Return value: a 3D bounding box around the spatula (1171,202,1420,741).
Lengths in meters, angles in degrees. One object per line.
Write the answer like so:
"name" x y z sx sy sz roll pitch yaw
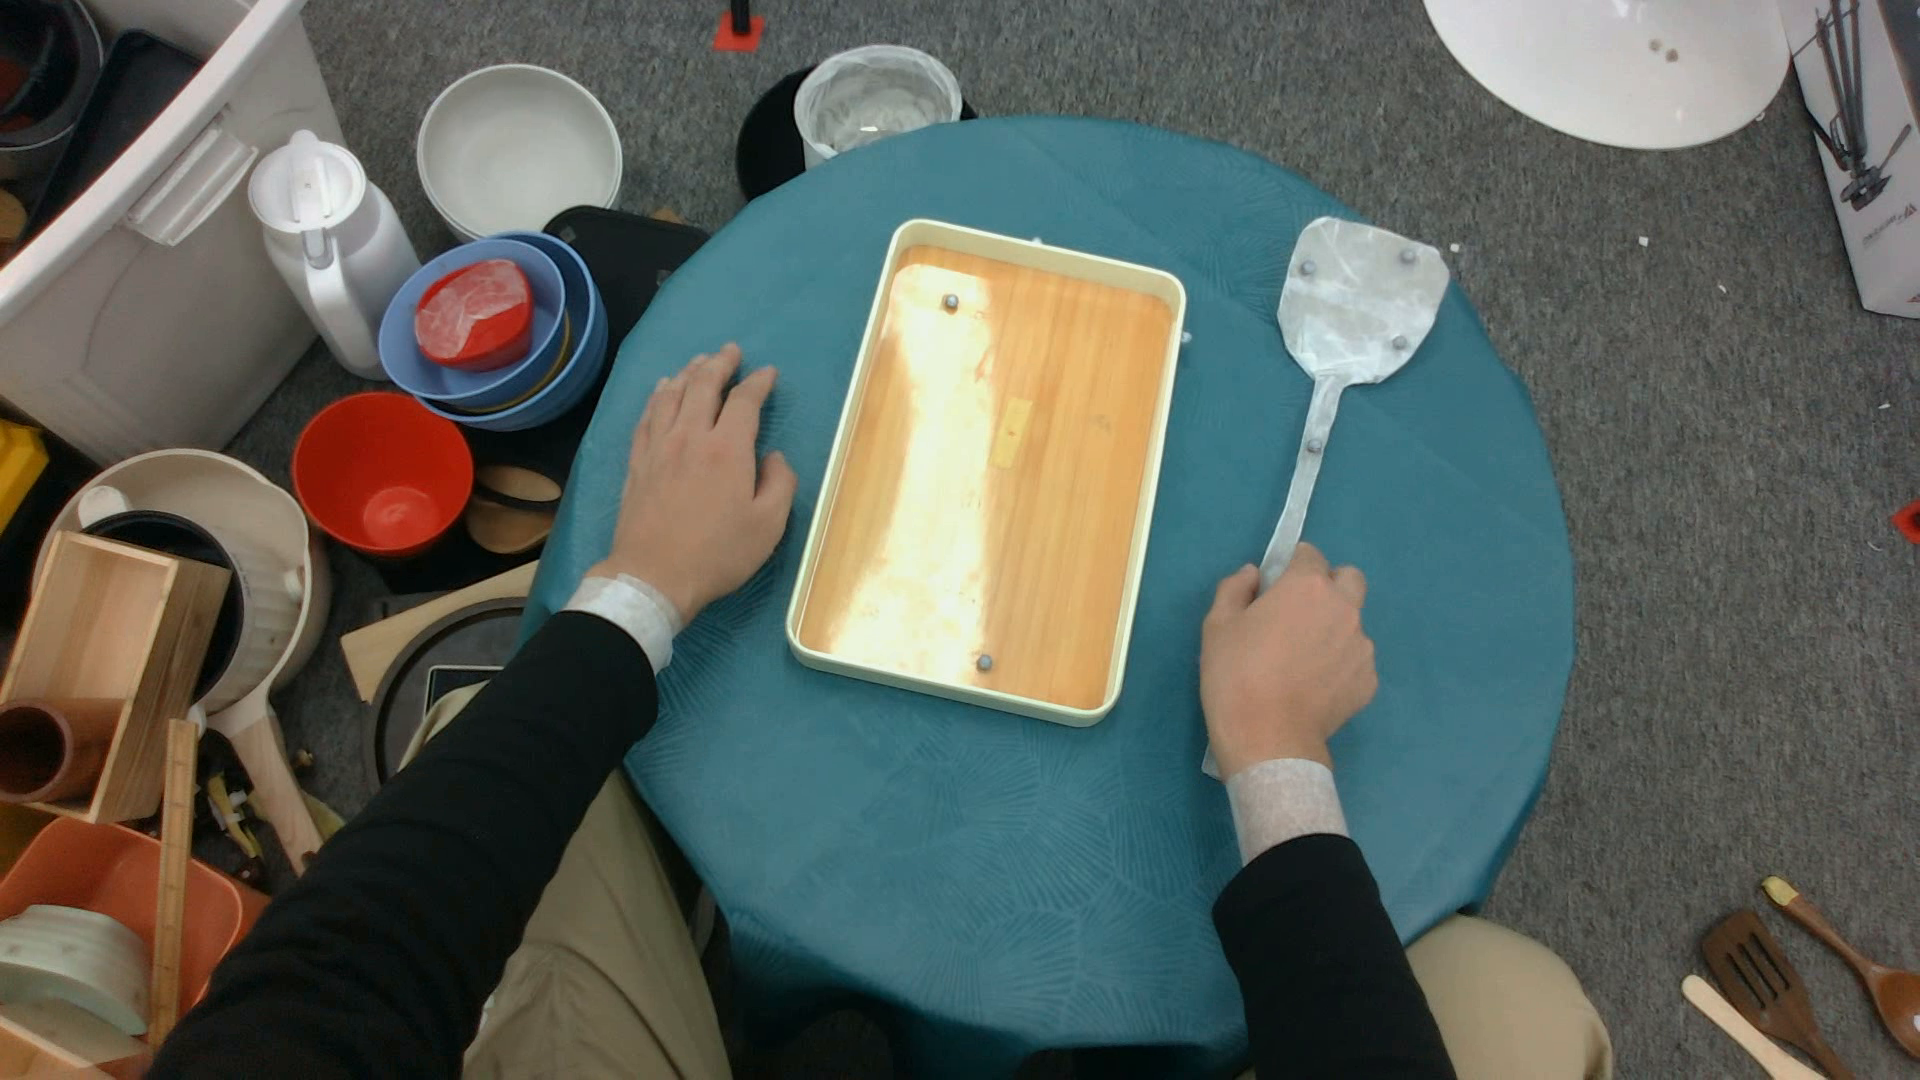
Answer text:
"spatula" 0.191 -0.047 0.826 0.098 0.044 0.366 20 66 4

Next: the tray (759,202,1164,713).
"tray" 0.008 -0.058 0.819 0.191 0.027 0.301 13 66 0
